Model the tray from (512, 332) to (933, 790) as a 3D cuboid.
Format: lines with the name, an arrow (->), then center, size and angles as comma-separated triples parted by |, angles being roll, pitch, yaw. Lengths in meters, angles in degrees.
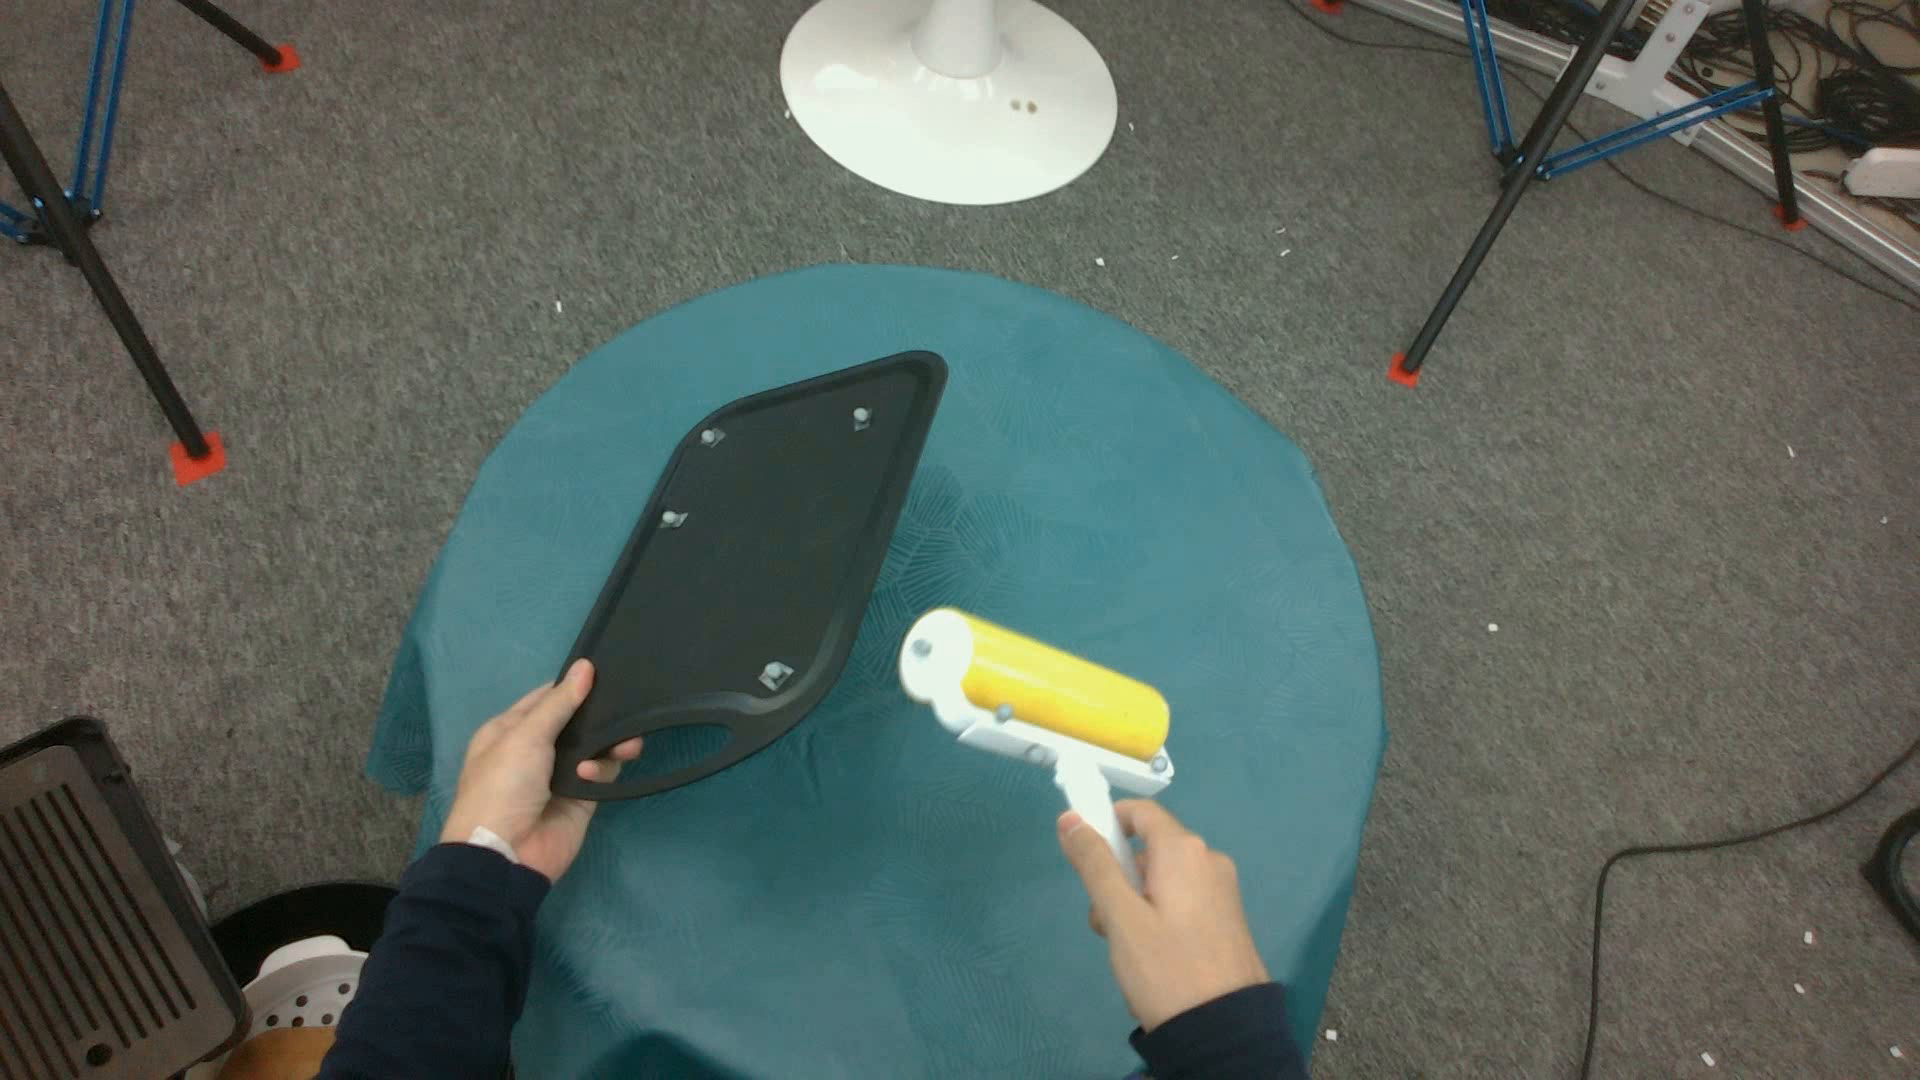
tray -> -0.130, 0.001, 0.772 | 0.210, 0.010, 0.327 | -12, 41, 28

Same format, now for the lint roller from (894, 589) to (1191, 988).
lint roller -> 0.067, 0.116, 0.652 | 0.174, 0.051, 0.192 | 24, 24, -45
